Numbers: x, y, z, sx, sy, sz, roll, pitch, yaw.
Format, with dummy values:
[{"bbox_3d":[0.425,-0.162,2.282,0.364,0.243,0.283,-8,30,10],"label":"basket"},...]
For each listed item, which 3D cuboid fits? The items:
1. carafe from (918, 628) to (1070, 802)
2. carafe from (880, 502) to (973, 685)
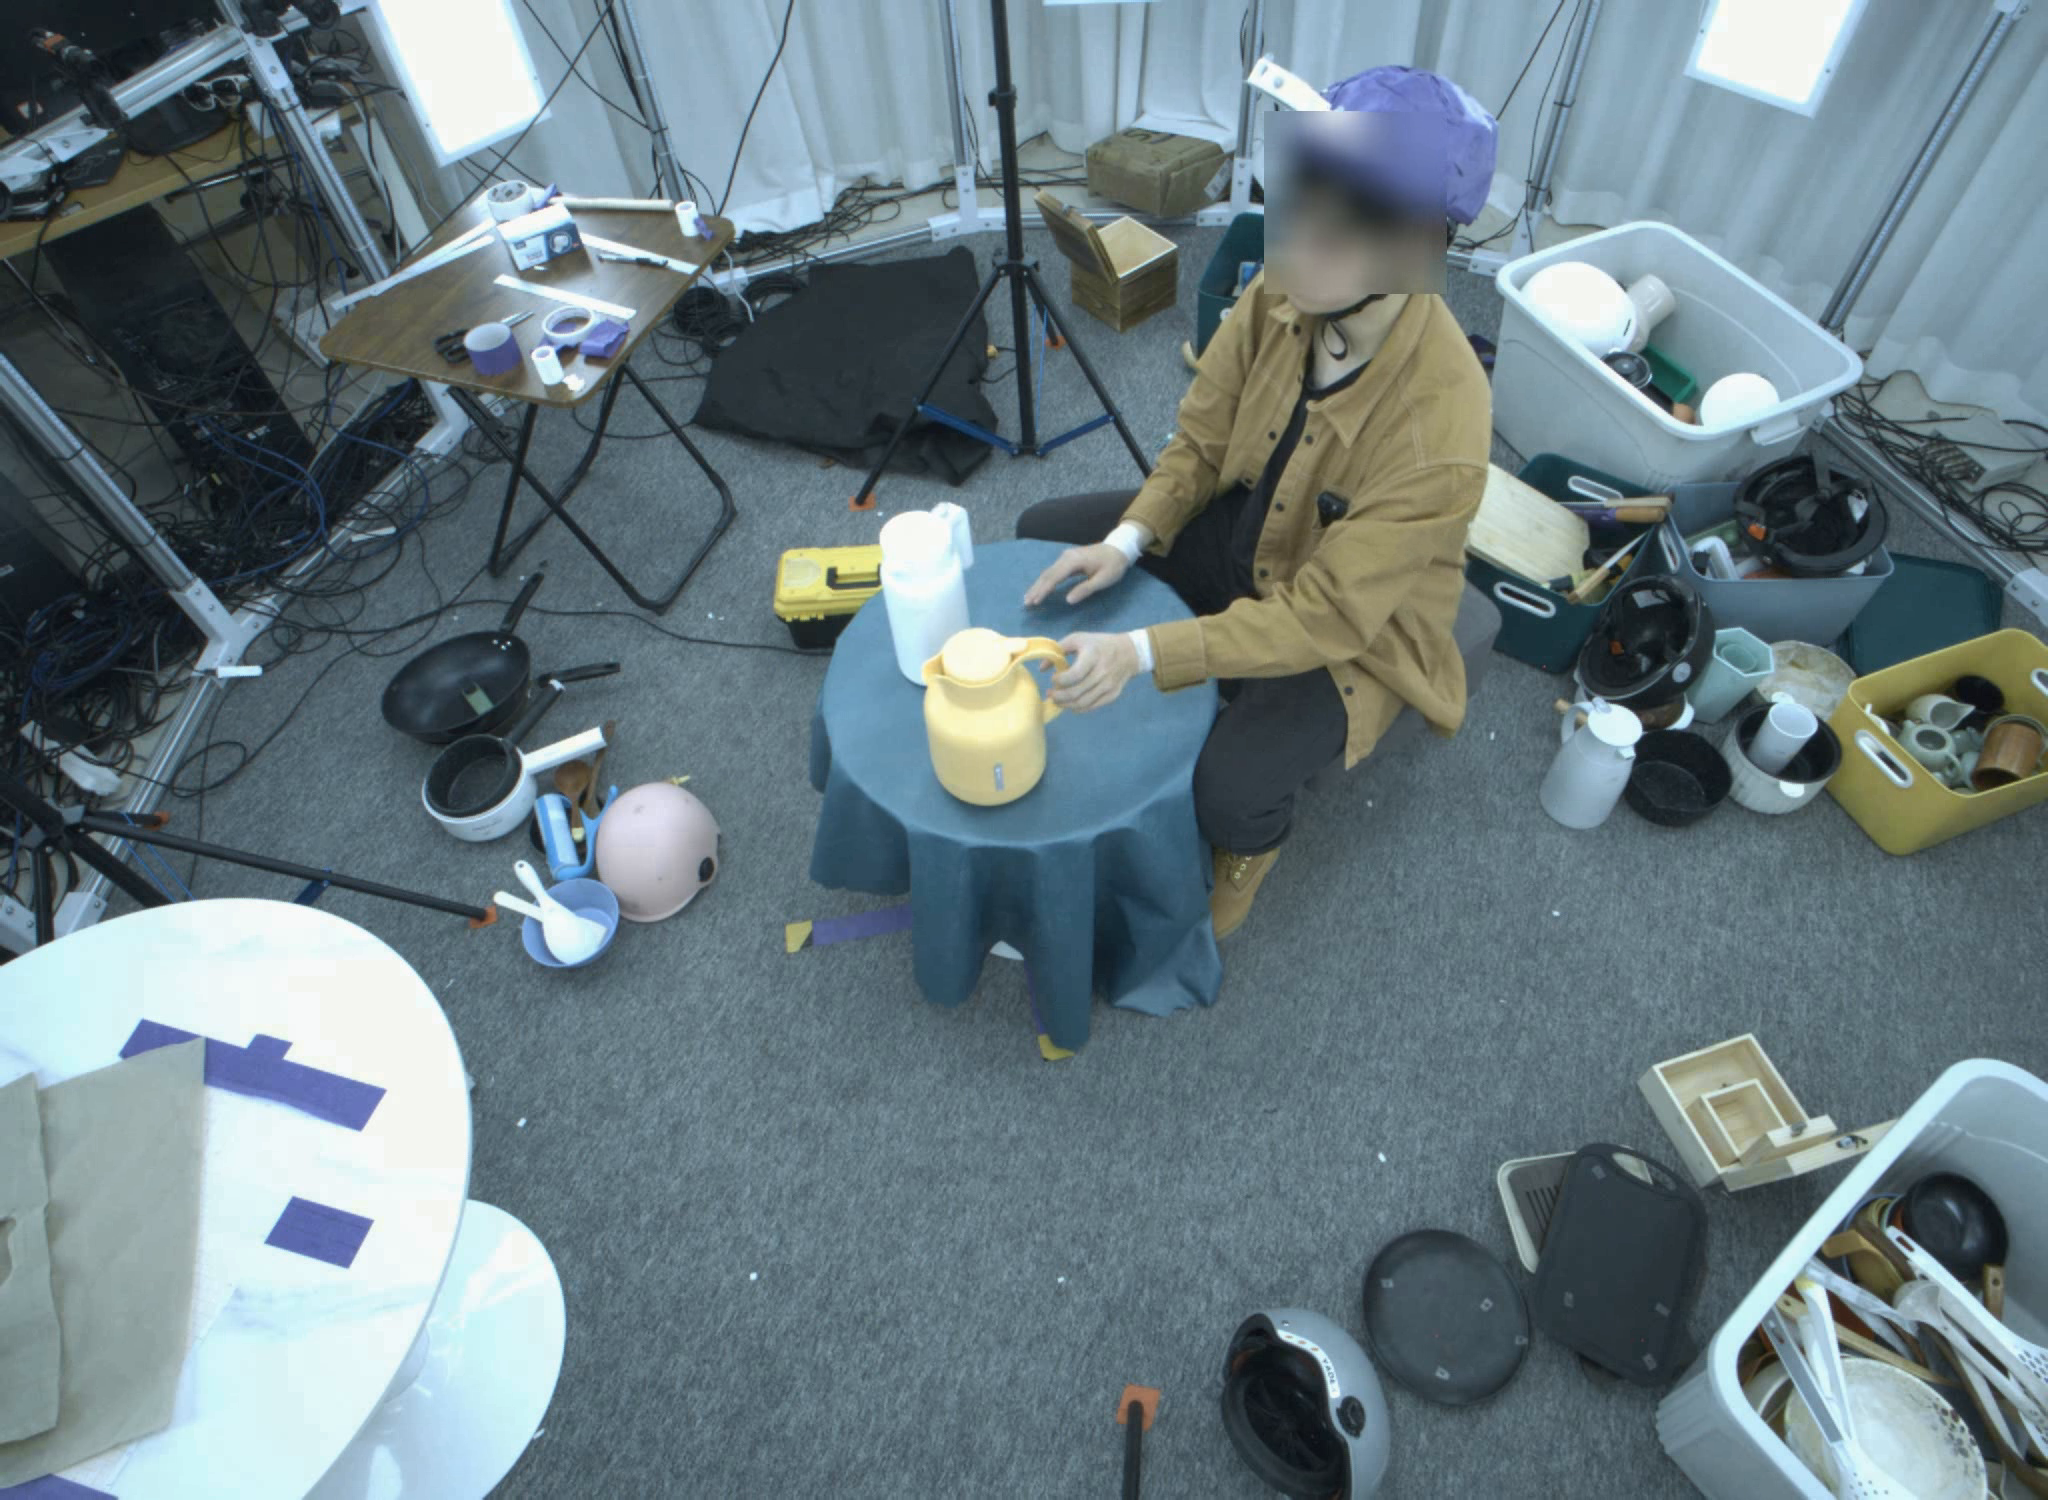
[{"bbox_3d":[-0.036,-0.056,1.661,0.203,0.263,0.161,-13,57,-4],"label":"carafe"},{"bbox_3d":[-0.135,-0.230,1.786,0.122,0.272,0.173,24,59,21],"label":"carafe"}]
